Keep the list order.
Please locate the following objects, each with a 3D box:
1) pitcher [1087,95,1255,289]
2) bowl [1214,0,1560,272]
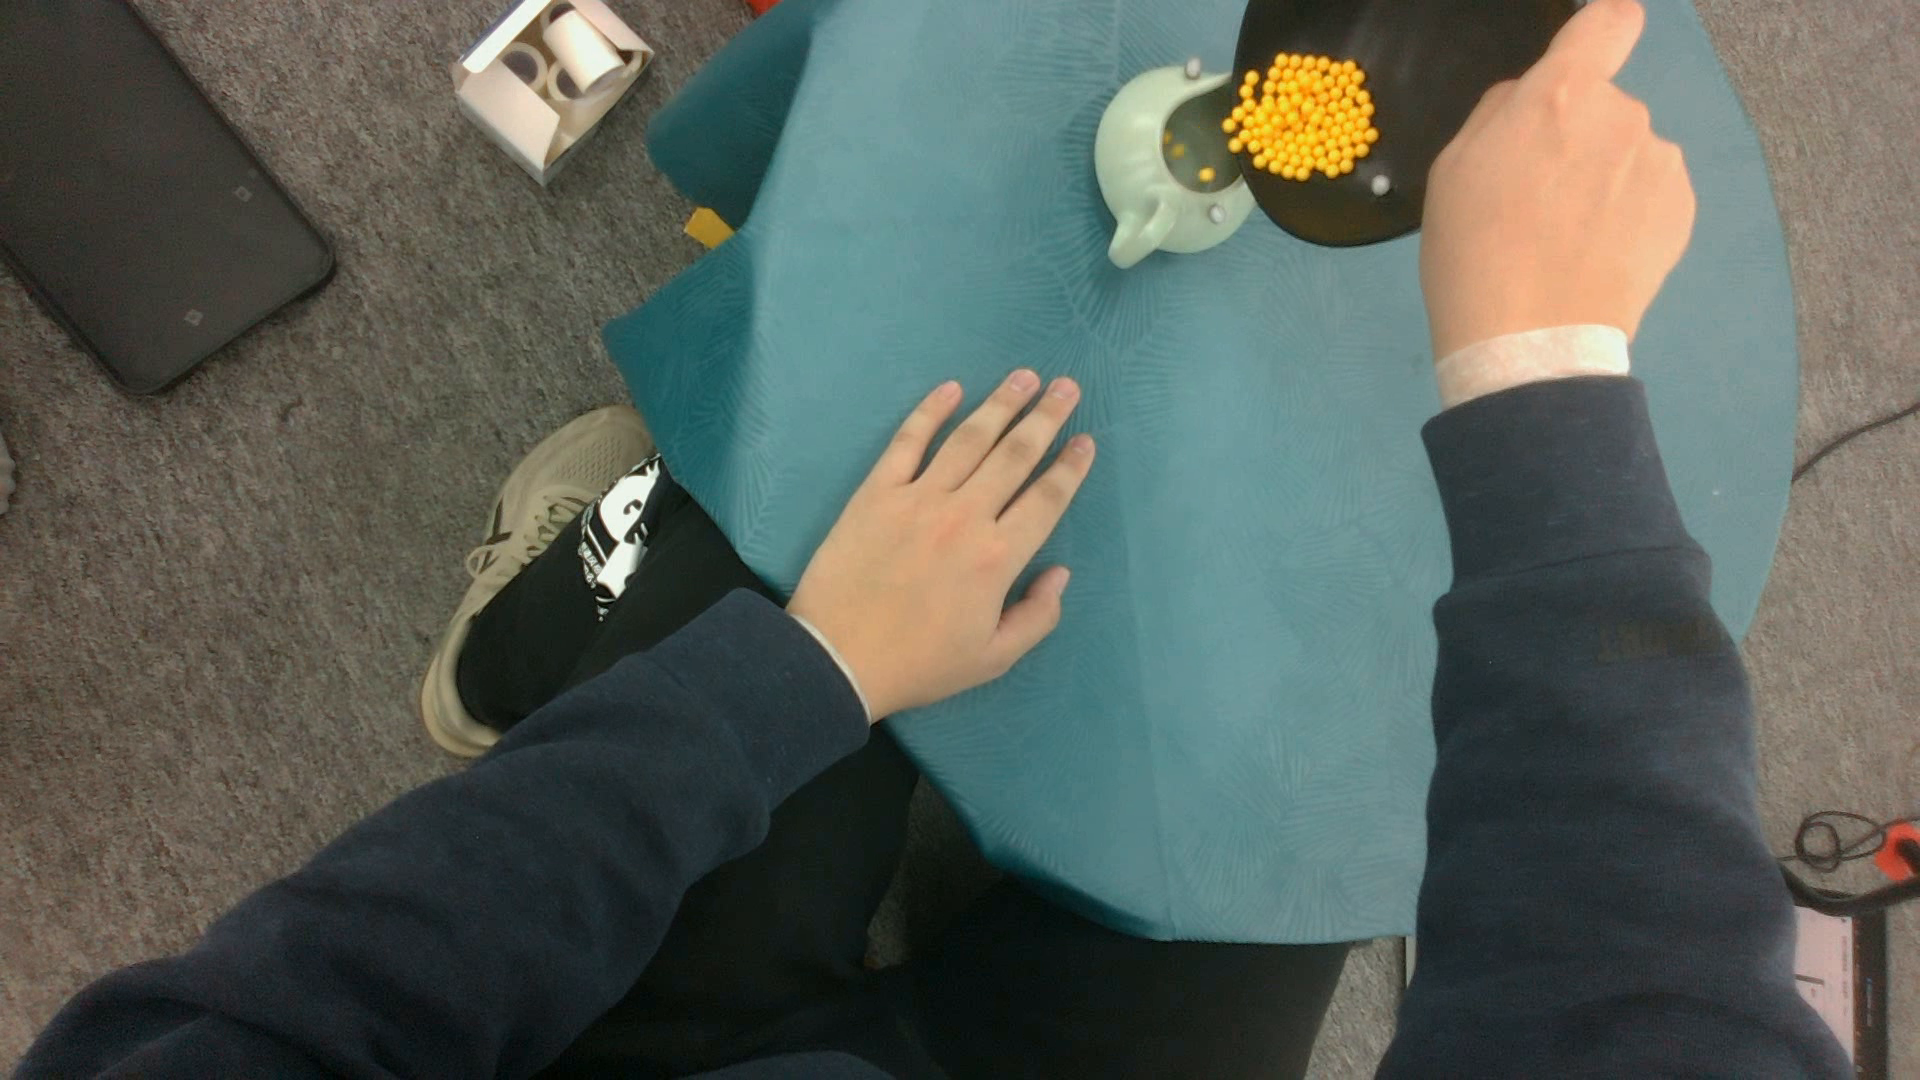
[{"bbox_3d":[0.099,-0.164,0.664,0.086,0.060,0.108,35,81,-12],"label":"pitcher"},{"bbox_3d":[0.183,-0.184,0.580,0.067,0.170,0.137,-8,97,-31],"label":"bowl"}]
